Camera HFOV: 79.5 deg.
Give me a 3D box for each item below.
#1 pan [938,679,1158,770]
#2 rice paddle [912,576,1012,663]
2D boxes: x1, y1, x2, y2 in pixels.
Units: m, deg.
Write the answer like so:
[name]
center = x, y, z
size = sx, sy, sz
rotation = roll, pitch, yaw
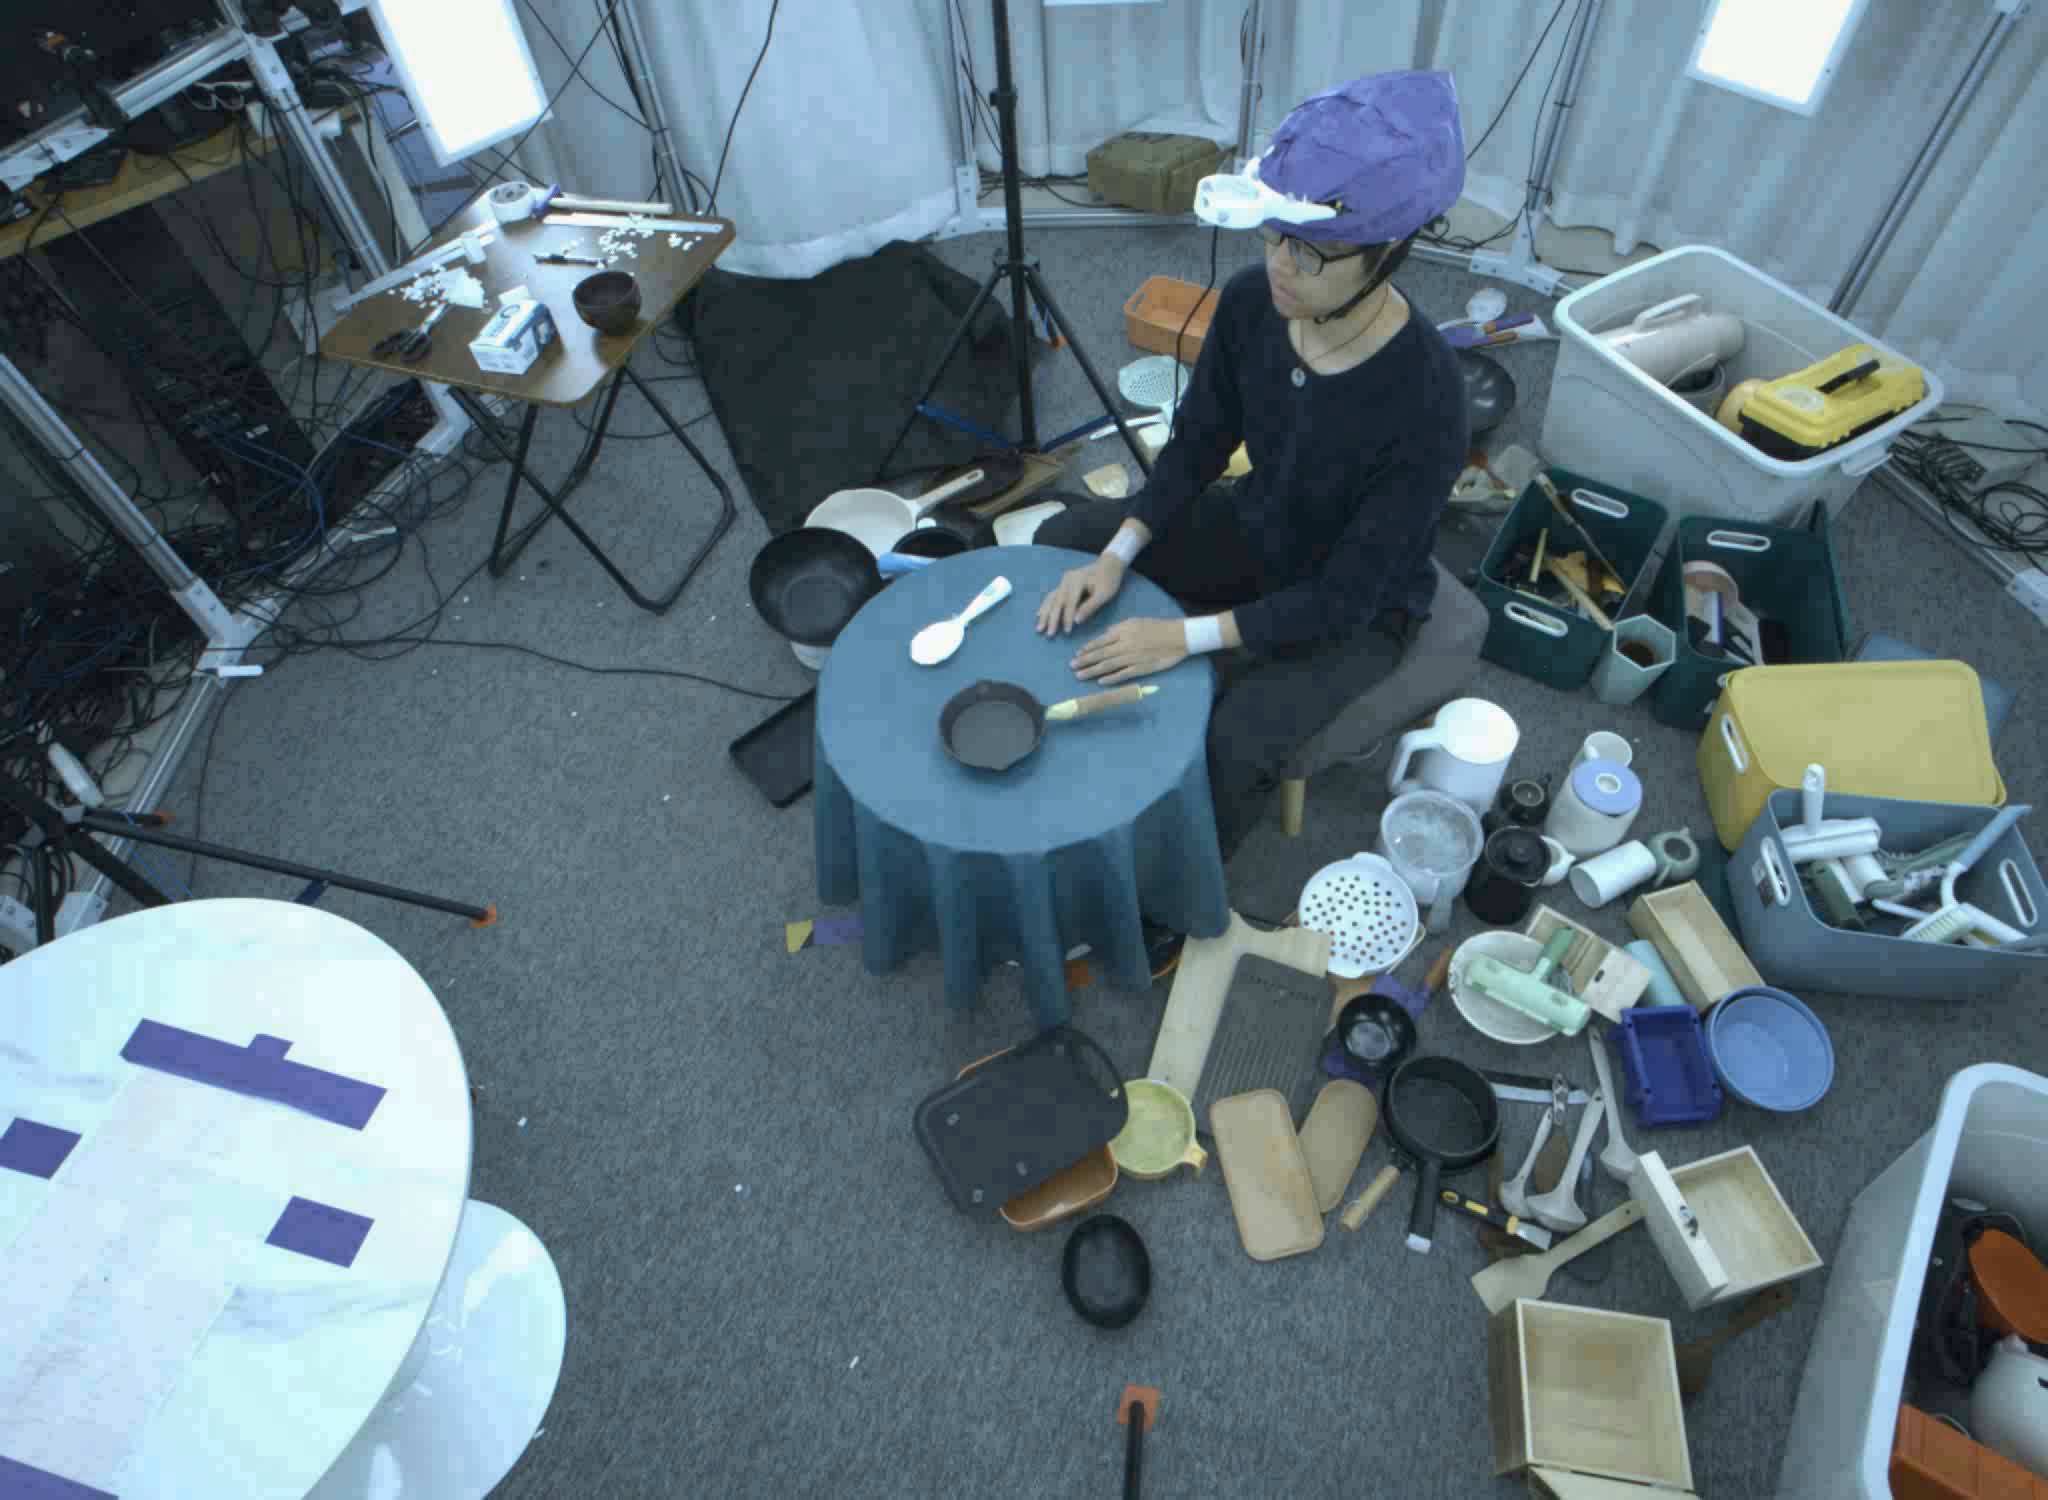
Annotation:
[pan]
center = 0.036, -0.050, 1.790
size = 0.325, 0.050, 0.166
rotation = -10, 55, -3
[rice paddle]
center = -0.097, -0.203, 1.916
size = 0.067, 0.030, 0.206
rotation = 33, 62, 25
